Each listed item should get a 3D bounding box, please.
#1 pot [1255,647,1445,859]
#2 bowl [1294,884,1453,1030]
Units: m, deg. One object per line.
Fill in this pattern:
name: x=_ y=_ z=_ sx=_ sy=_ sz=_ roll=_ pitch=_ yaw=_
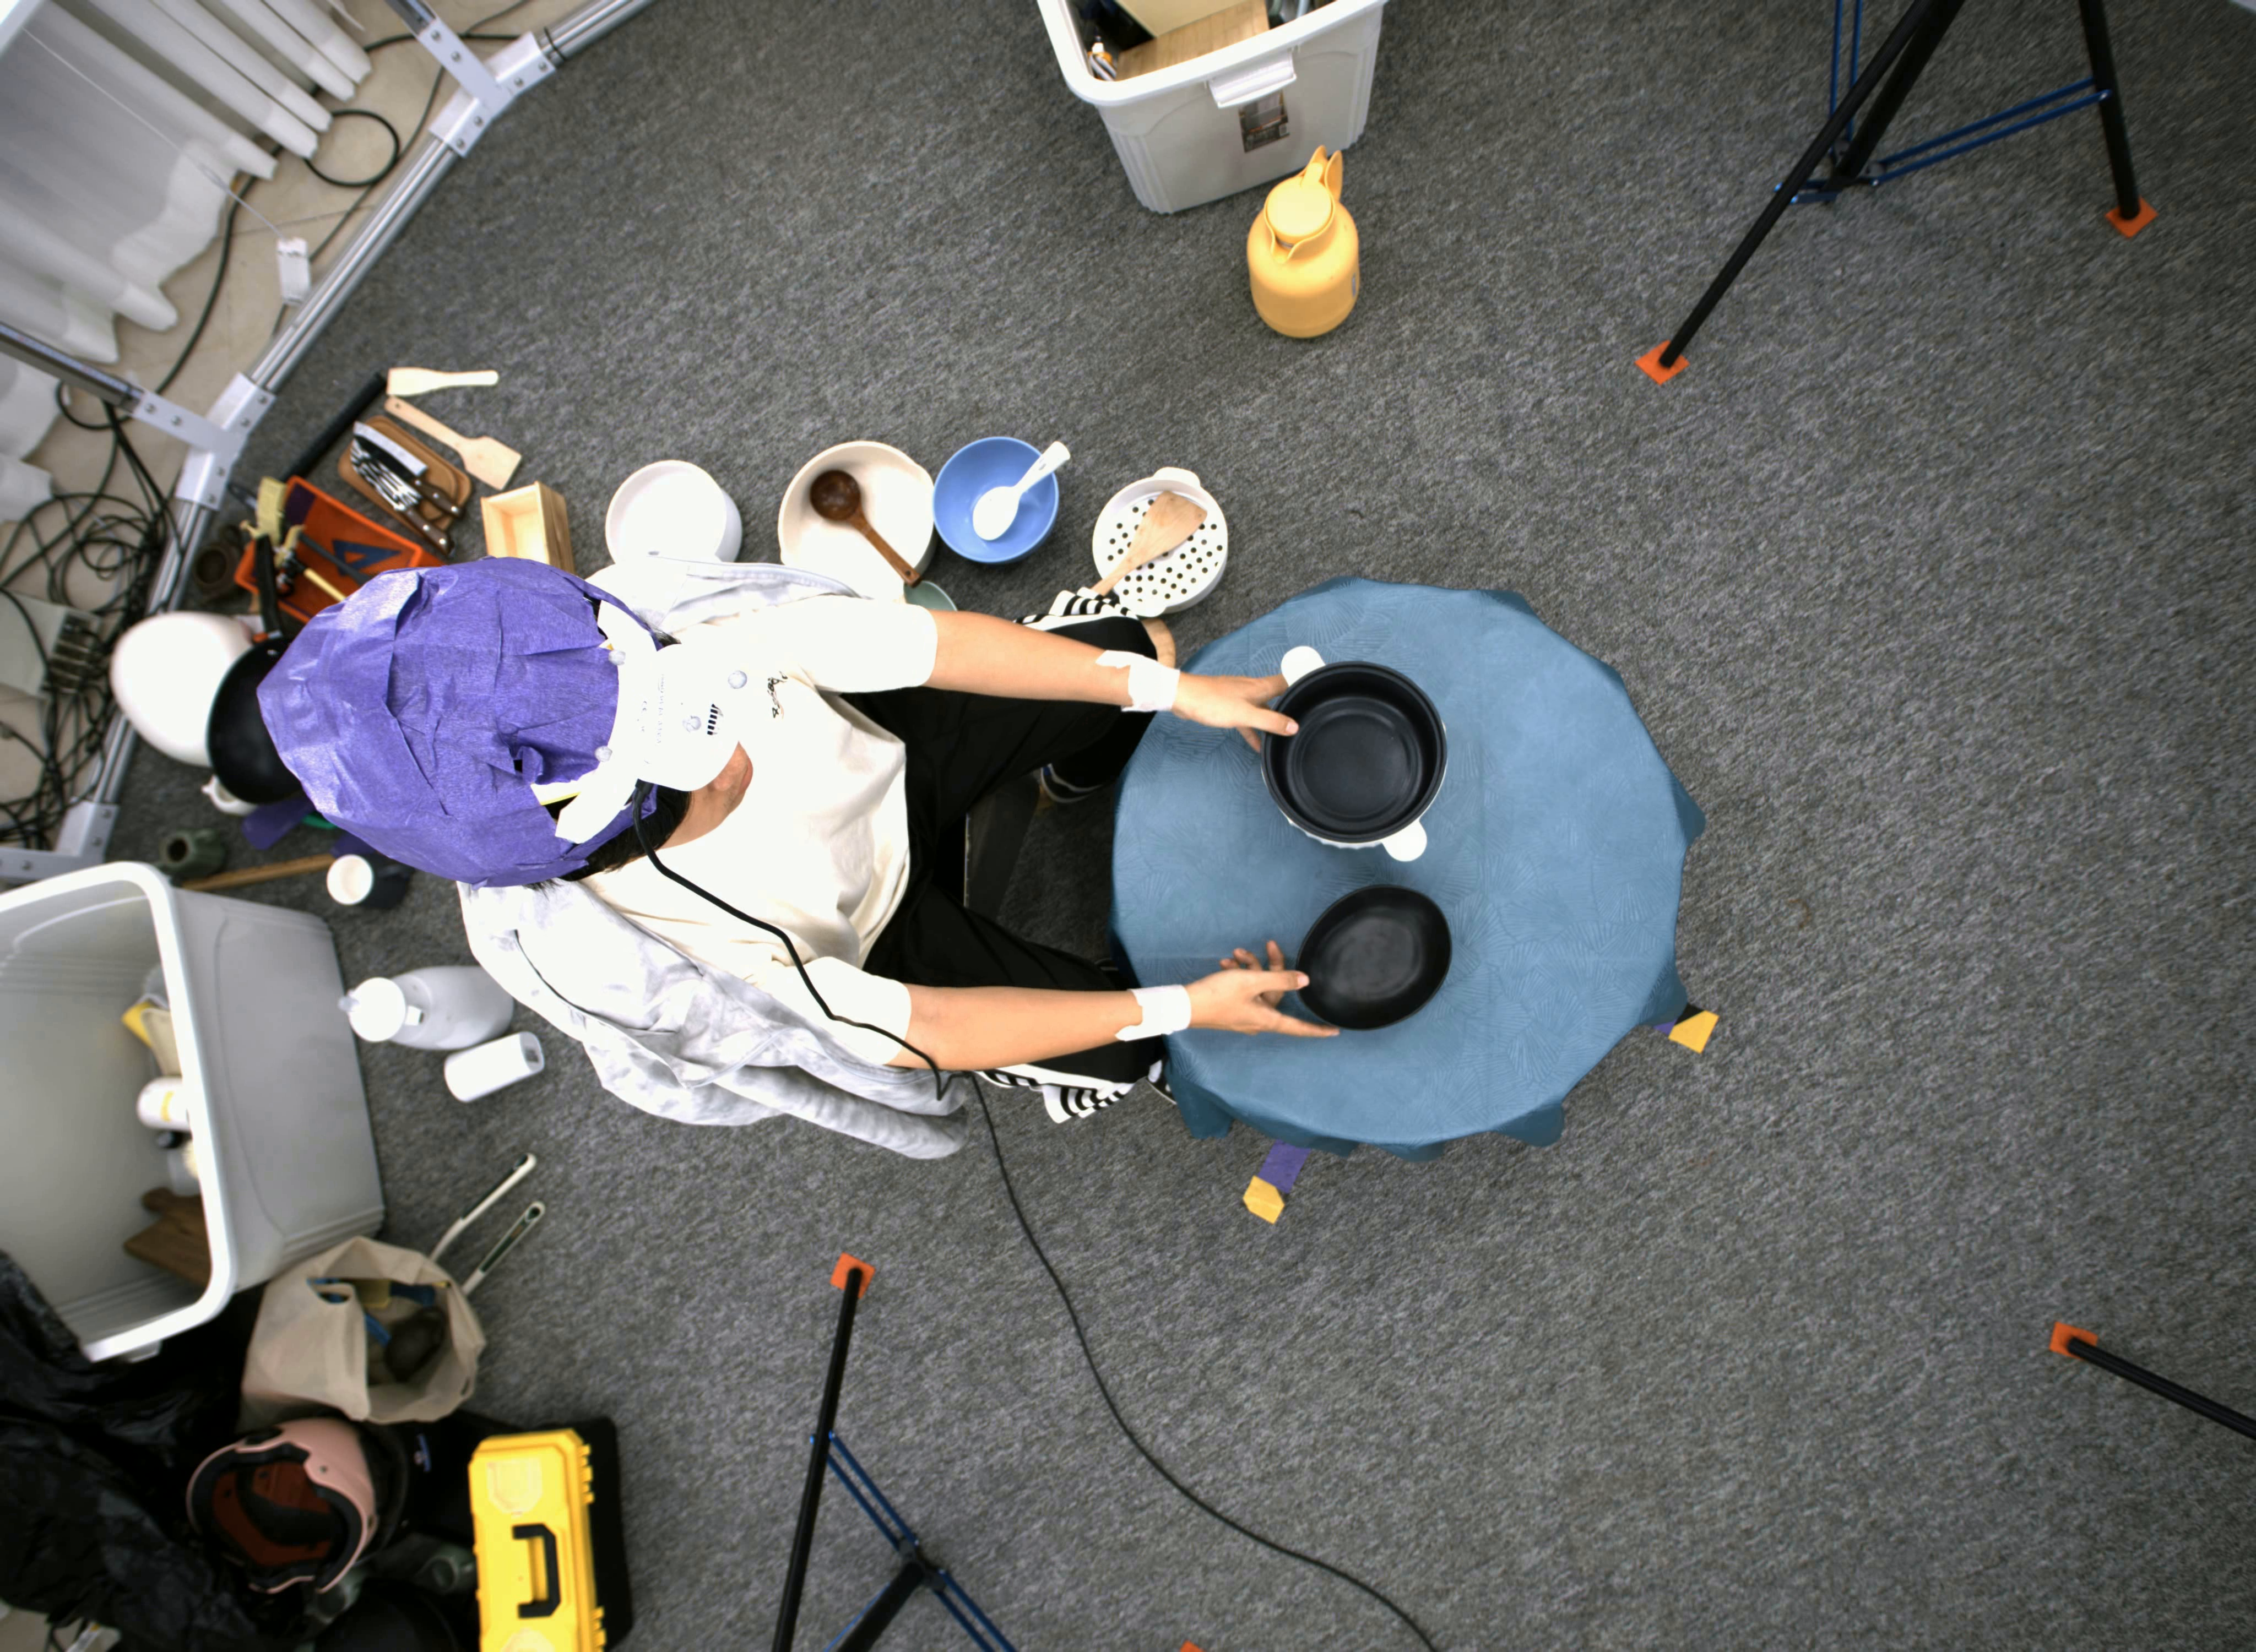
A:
pot: x=0.233 y=-0.071 z=1.403 sx=0.192 sy=0.142 sz=0.239 roll=-32 pitch=82 yaw=10
bowl: x=0.253 y=0.136 z=1.425 sx=0.171 sy=0.067 sz=0.136 roll=-38 pitch=79 yaw=7
